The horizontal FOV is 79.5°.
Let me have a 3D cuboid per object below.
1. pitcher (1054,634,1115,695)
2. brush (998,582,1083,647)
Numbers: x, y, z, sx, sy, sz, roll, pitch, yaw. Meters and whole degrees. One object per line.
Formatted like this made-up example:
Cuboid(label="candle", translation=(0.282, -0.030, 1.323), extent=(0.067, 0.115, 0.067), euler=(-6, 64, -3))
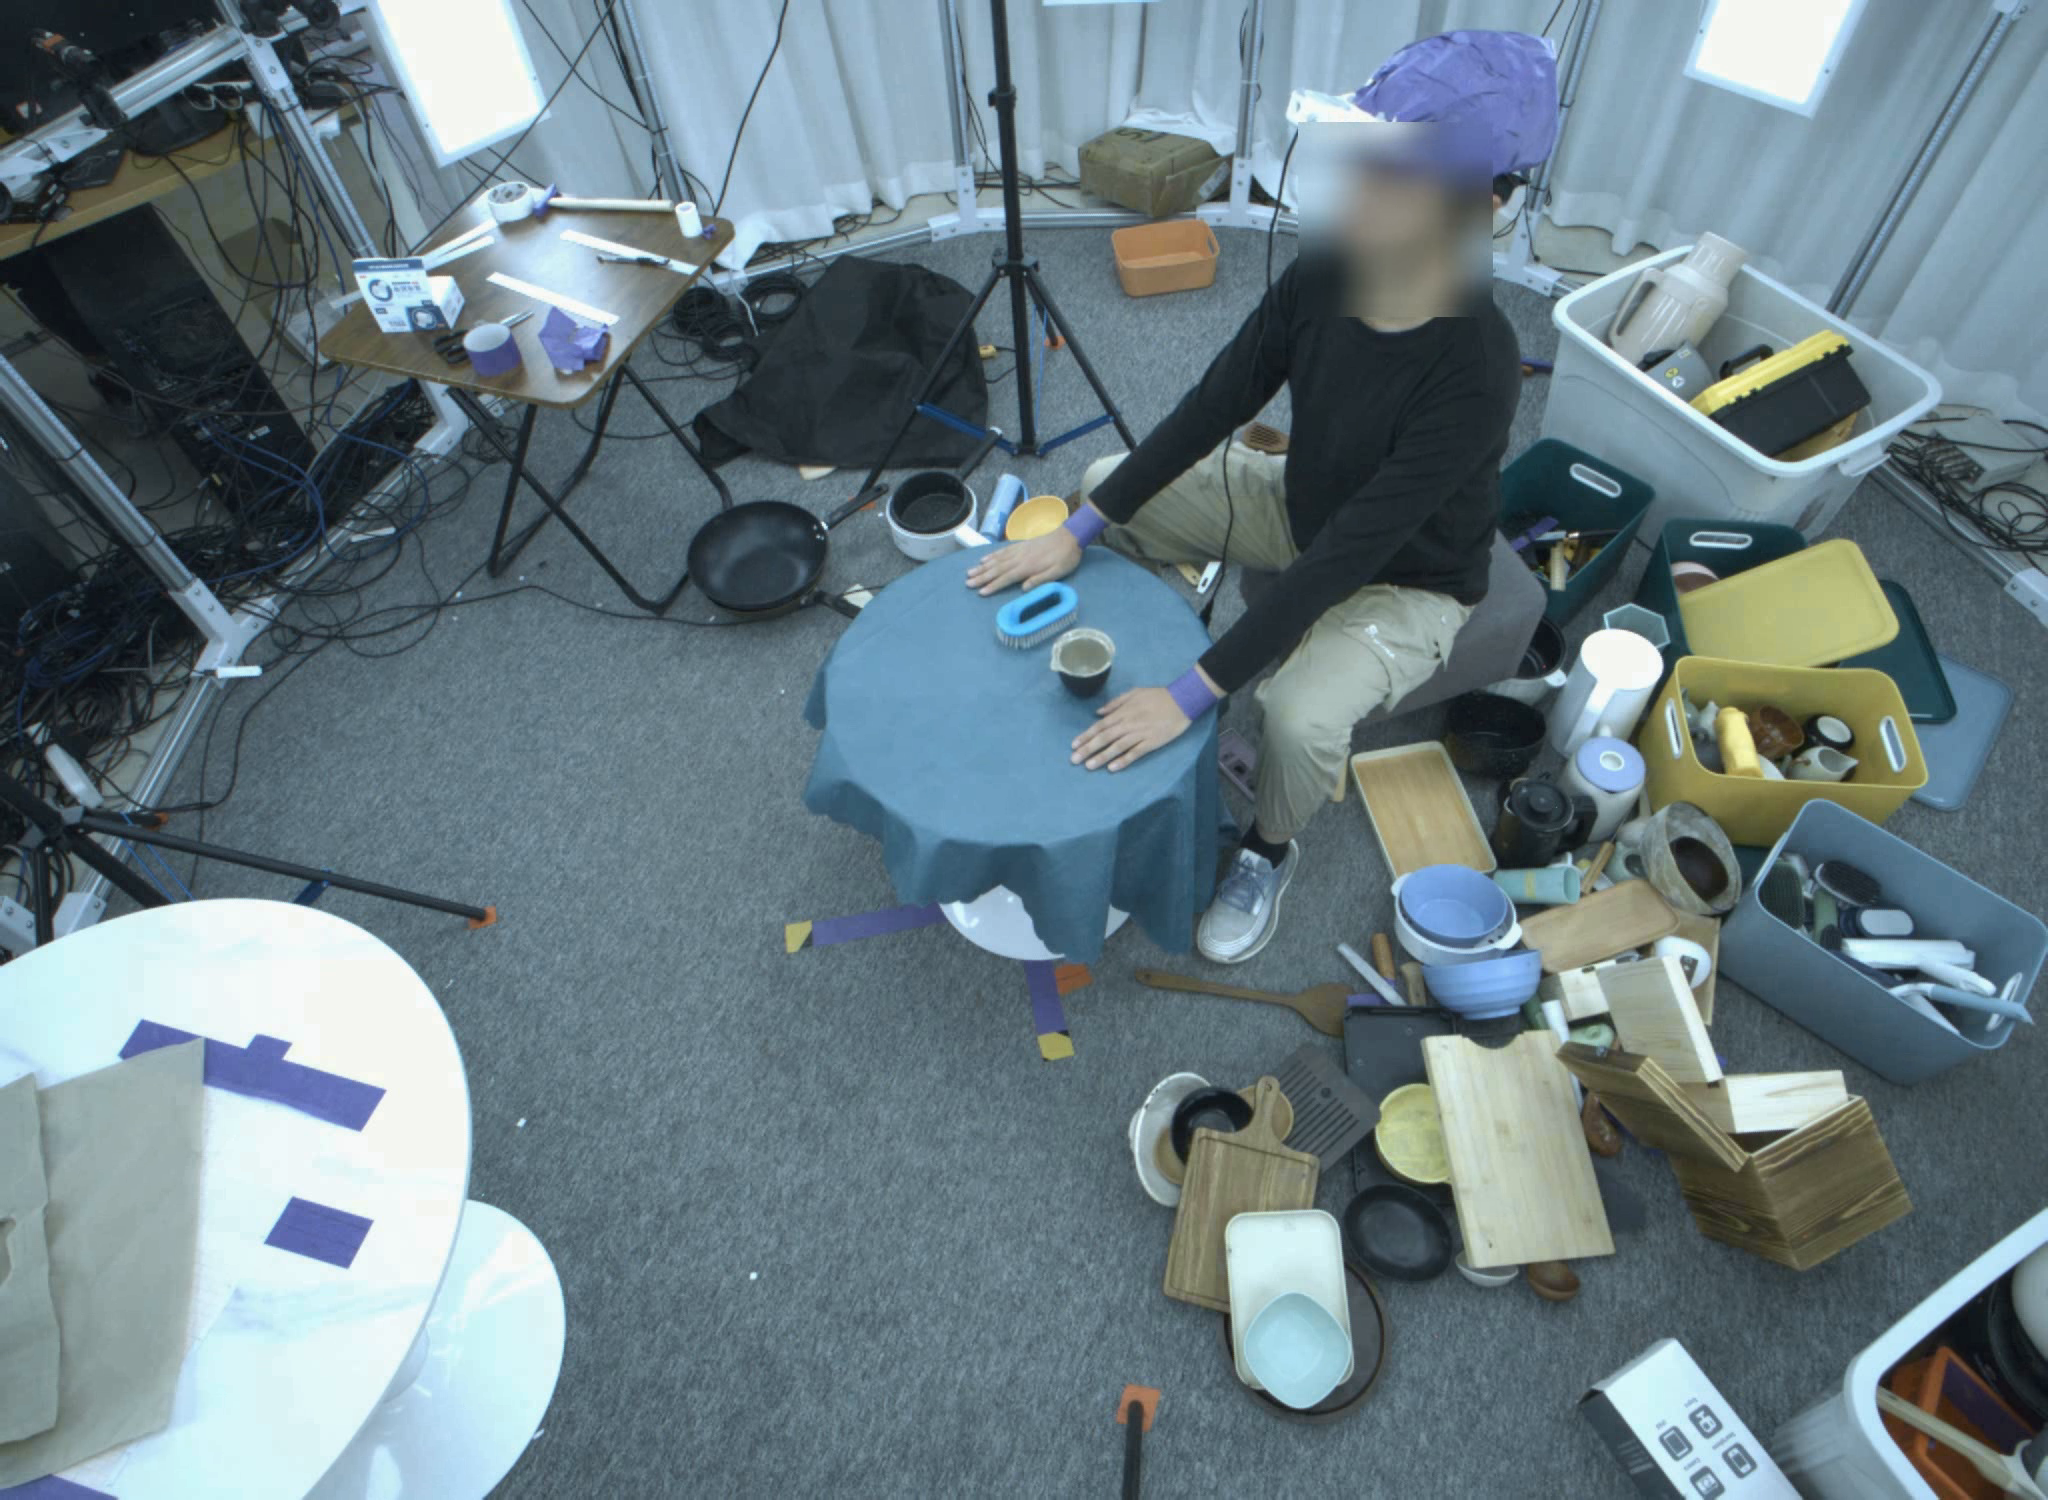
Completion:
Cuboid(label="pitcher", translation=(0.090, -0.121, 1.826), extent=(0.096, 0.072, 0.082), euler=(-22, 57, -11))
Cuboid(label="brush", translation=(0.022, -0.221, 1.905), extent=(0.143, 0.064, 0.082), euler=(-29, 54, -18))
